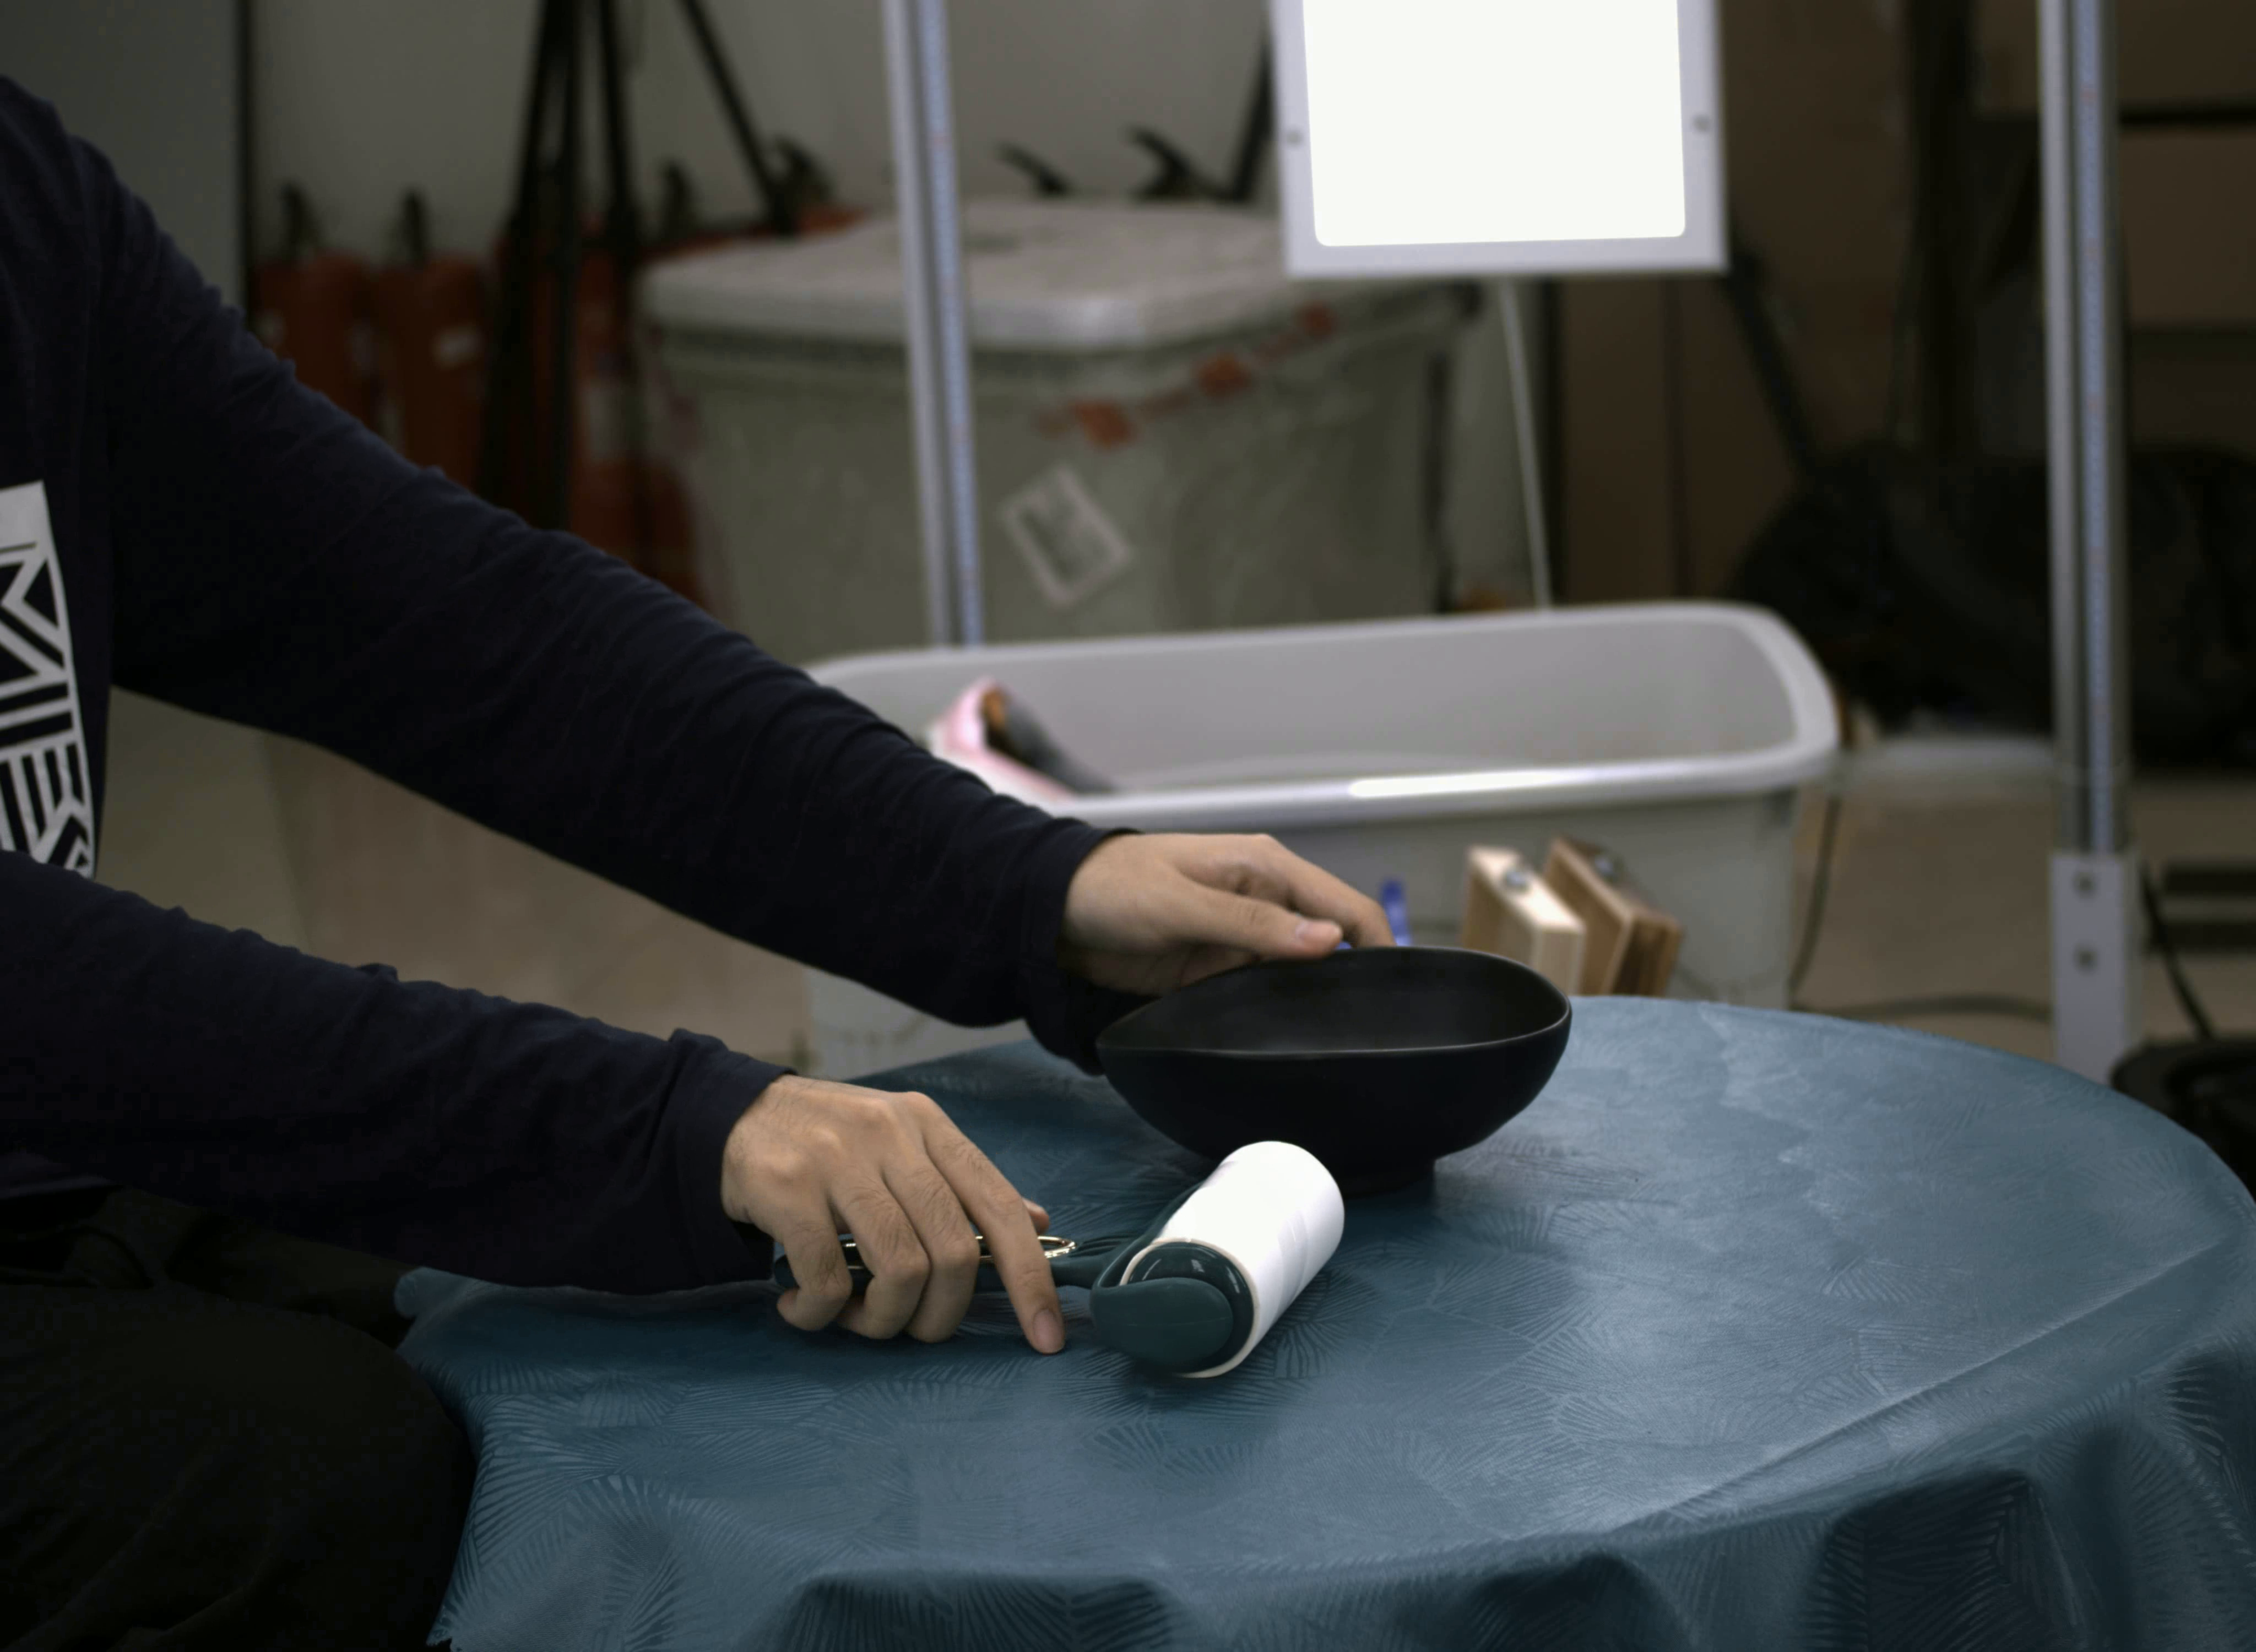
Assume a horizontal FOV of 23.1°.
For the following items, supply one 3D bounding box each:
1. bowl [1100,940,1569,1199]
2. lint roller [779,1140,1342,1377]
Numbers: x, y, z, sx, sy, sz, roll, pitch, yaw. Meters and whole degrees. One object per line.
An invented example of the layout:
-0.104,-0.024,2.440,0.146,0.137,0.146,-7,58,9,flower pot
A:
0.071,0.089,1.896,0.173,0.067,0.134,-1,14,25,bowl
-0.030,0.137,1.772,0.182,0.048,0.132,0,15,20,lint roller
